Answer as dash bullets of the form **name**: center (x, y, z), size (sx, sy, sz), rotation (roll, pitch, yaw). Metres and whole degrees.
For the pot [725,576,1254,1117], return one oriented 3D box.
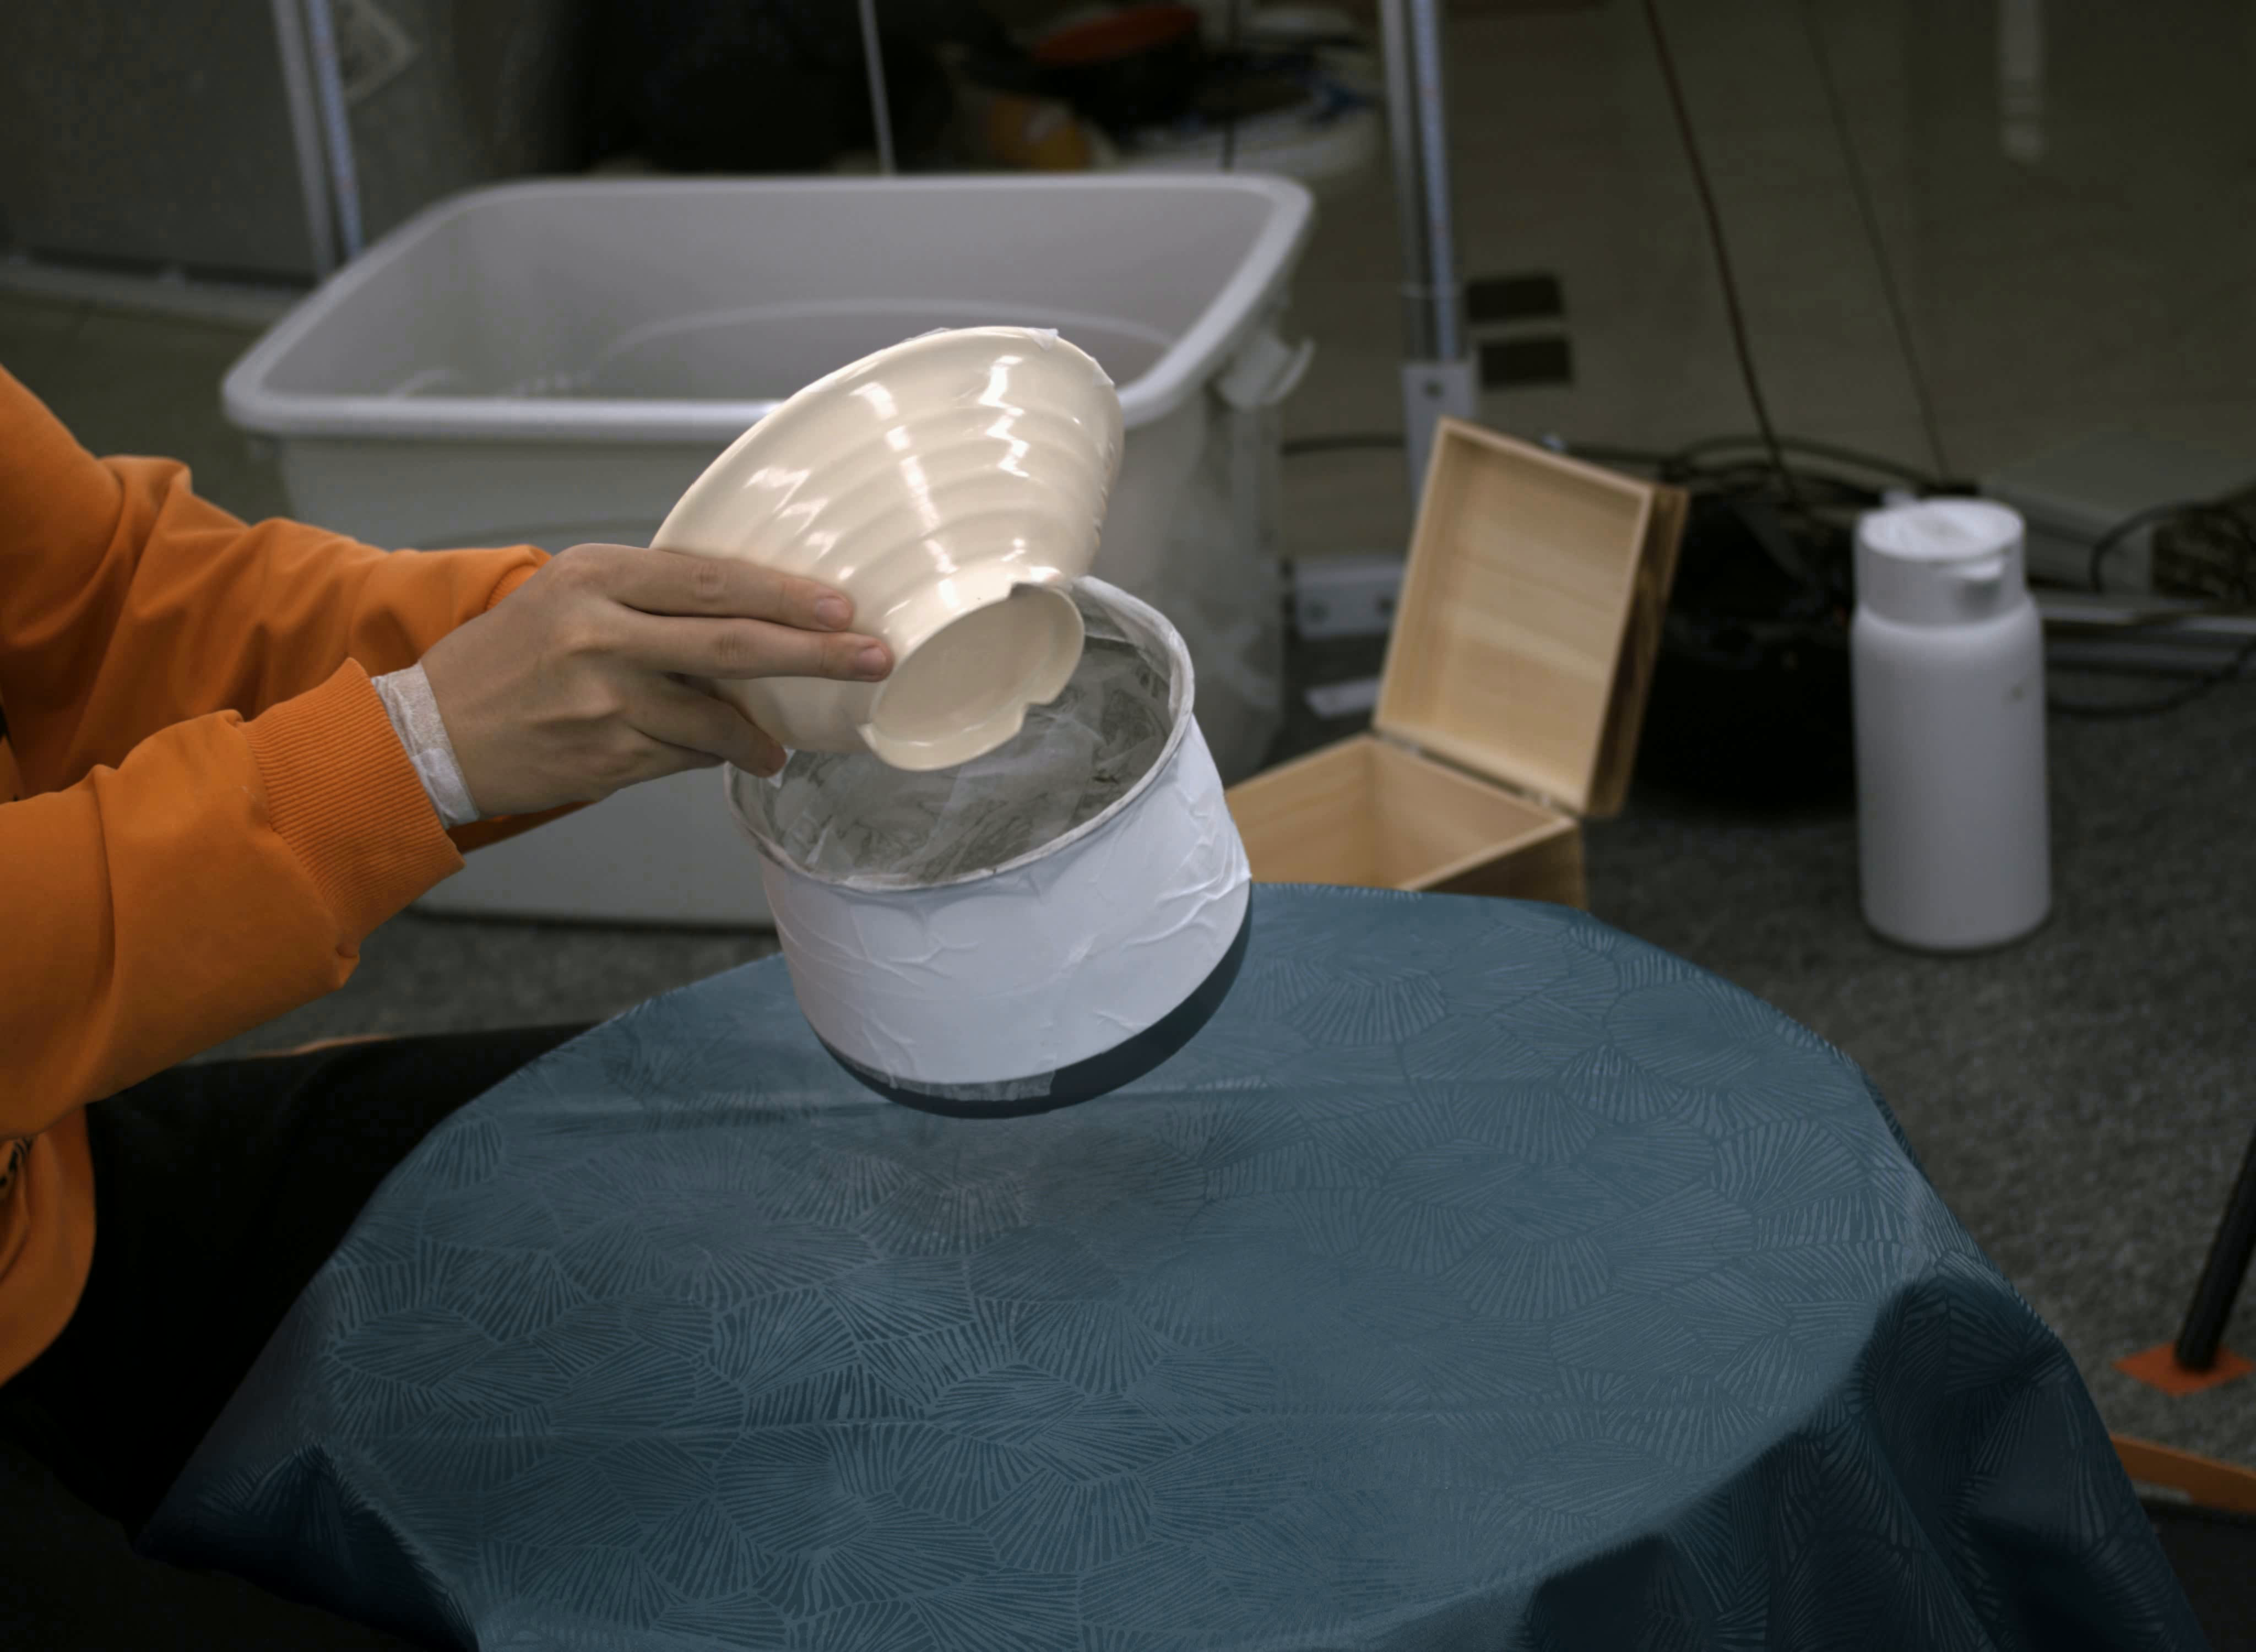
- **pot**: center (-0.065, 0.000, 2.111), size (0.177, 0.139, 0.231), rotation (-38, 44, -25)

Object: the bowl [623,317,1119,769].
- **bowl**: center (-0.071, -0.078, 1.997), size (0.203, 0.208, 0.077), rotation (-20, 57, -28)
